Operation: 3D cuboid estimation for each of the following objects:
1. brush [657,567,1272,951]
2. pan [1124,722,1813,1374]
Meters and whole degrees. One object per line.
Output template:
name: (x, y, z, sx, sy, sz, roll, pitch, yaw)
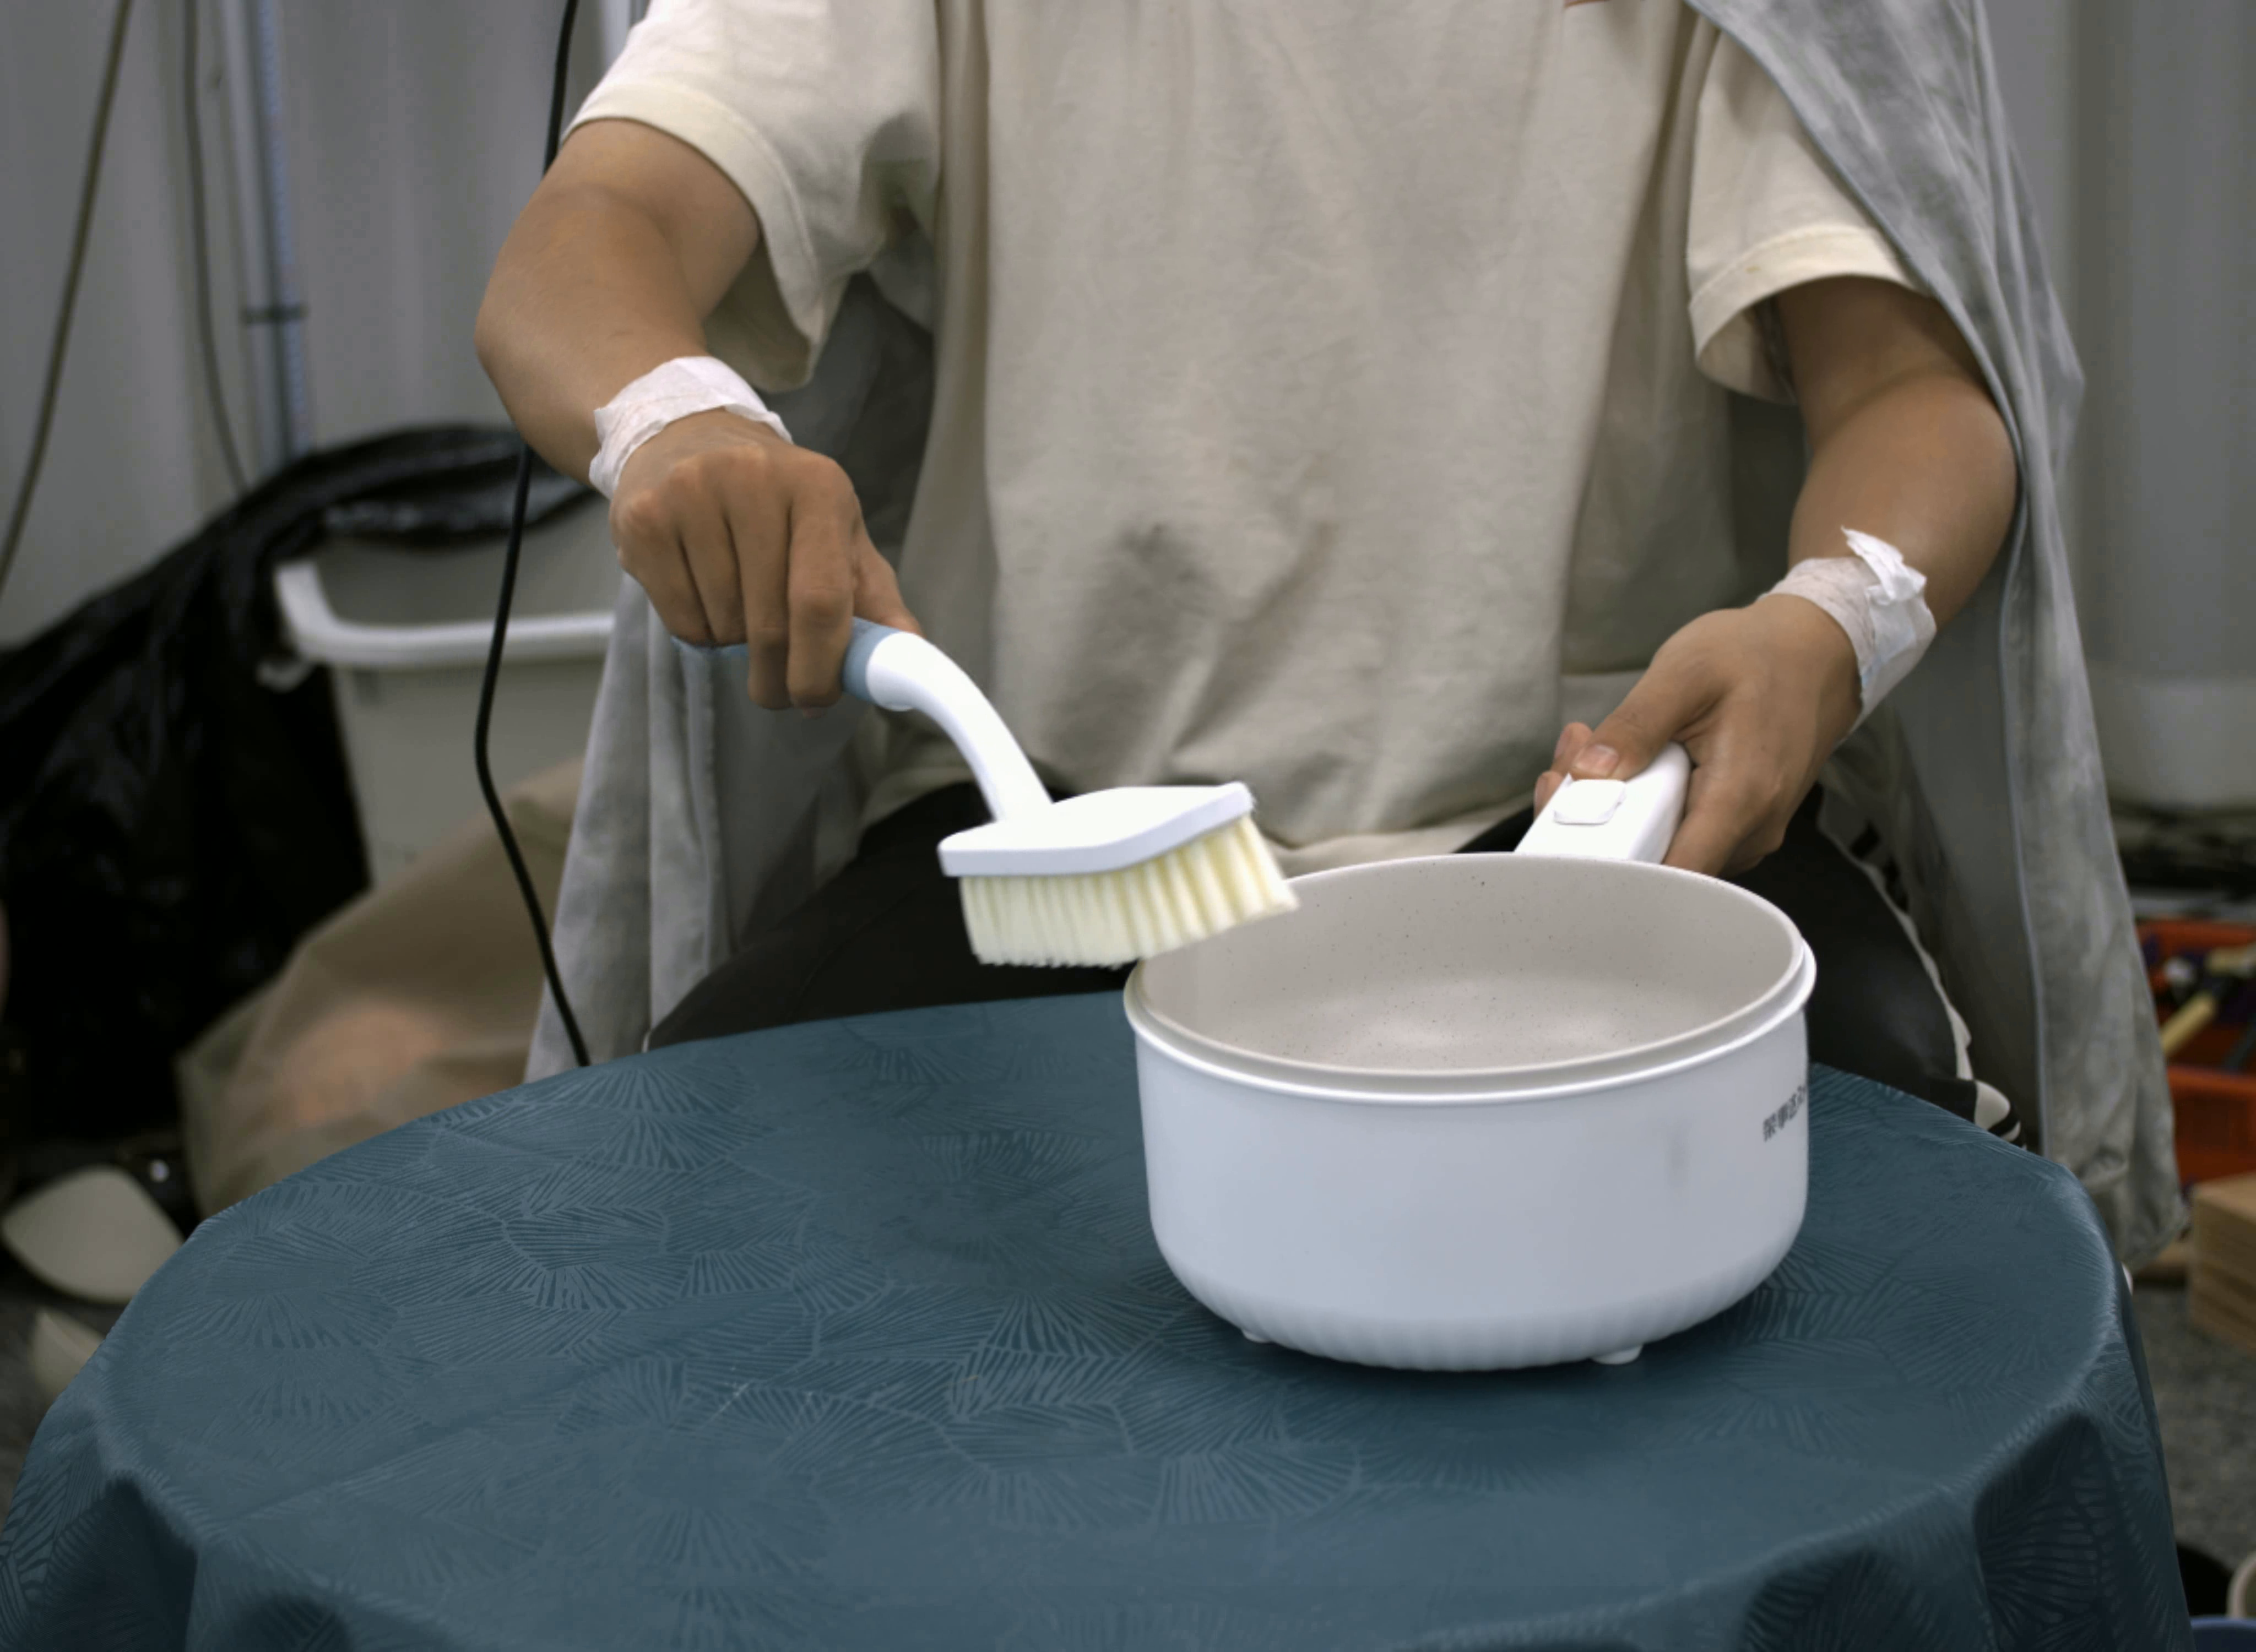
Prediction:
brush: (-0.054, -0.008, 1.685, 0.082, 0.085, 0.328, 28, -5, -35)
pan: (0.124, 0.063, 1.672, 0.201, 0.101, 0.356, 2, 18, 18)
